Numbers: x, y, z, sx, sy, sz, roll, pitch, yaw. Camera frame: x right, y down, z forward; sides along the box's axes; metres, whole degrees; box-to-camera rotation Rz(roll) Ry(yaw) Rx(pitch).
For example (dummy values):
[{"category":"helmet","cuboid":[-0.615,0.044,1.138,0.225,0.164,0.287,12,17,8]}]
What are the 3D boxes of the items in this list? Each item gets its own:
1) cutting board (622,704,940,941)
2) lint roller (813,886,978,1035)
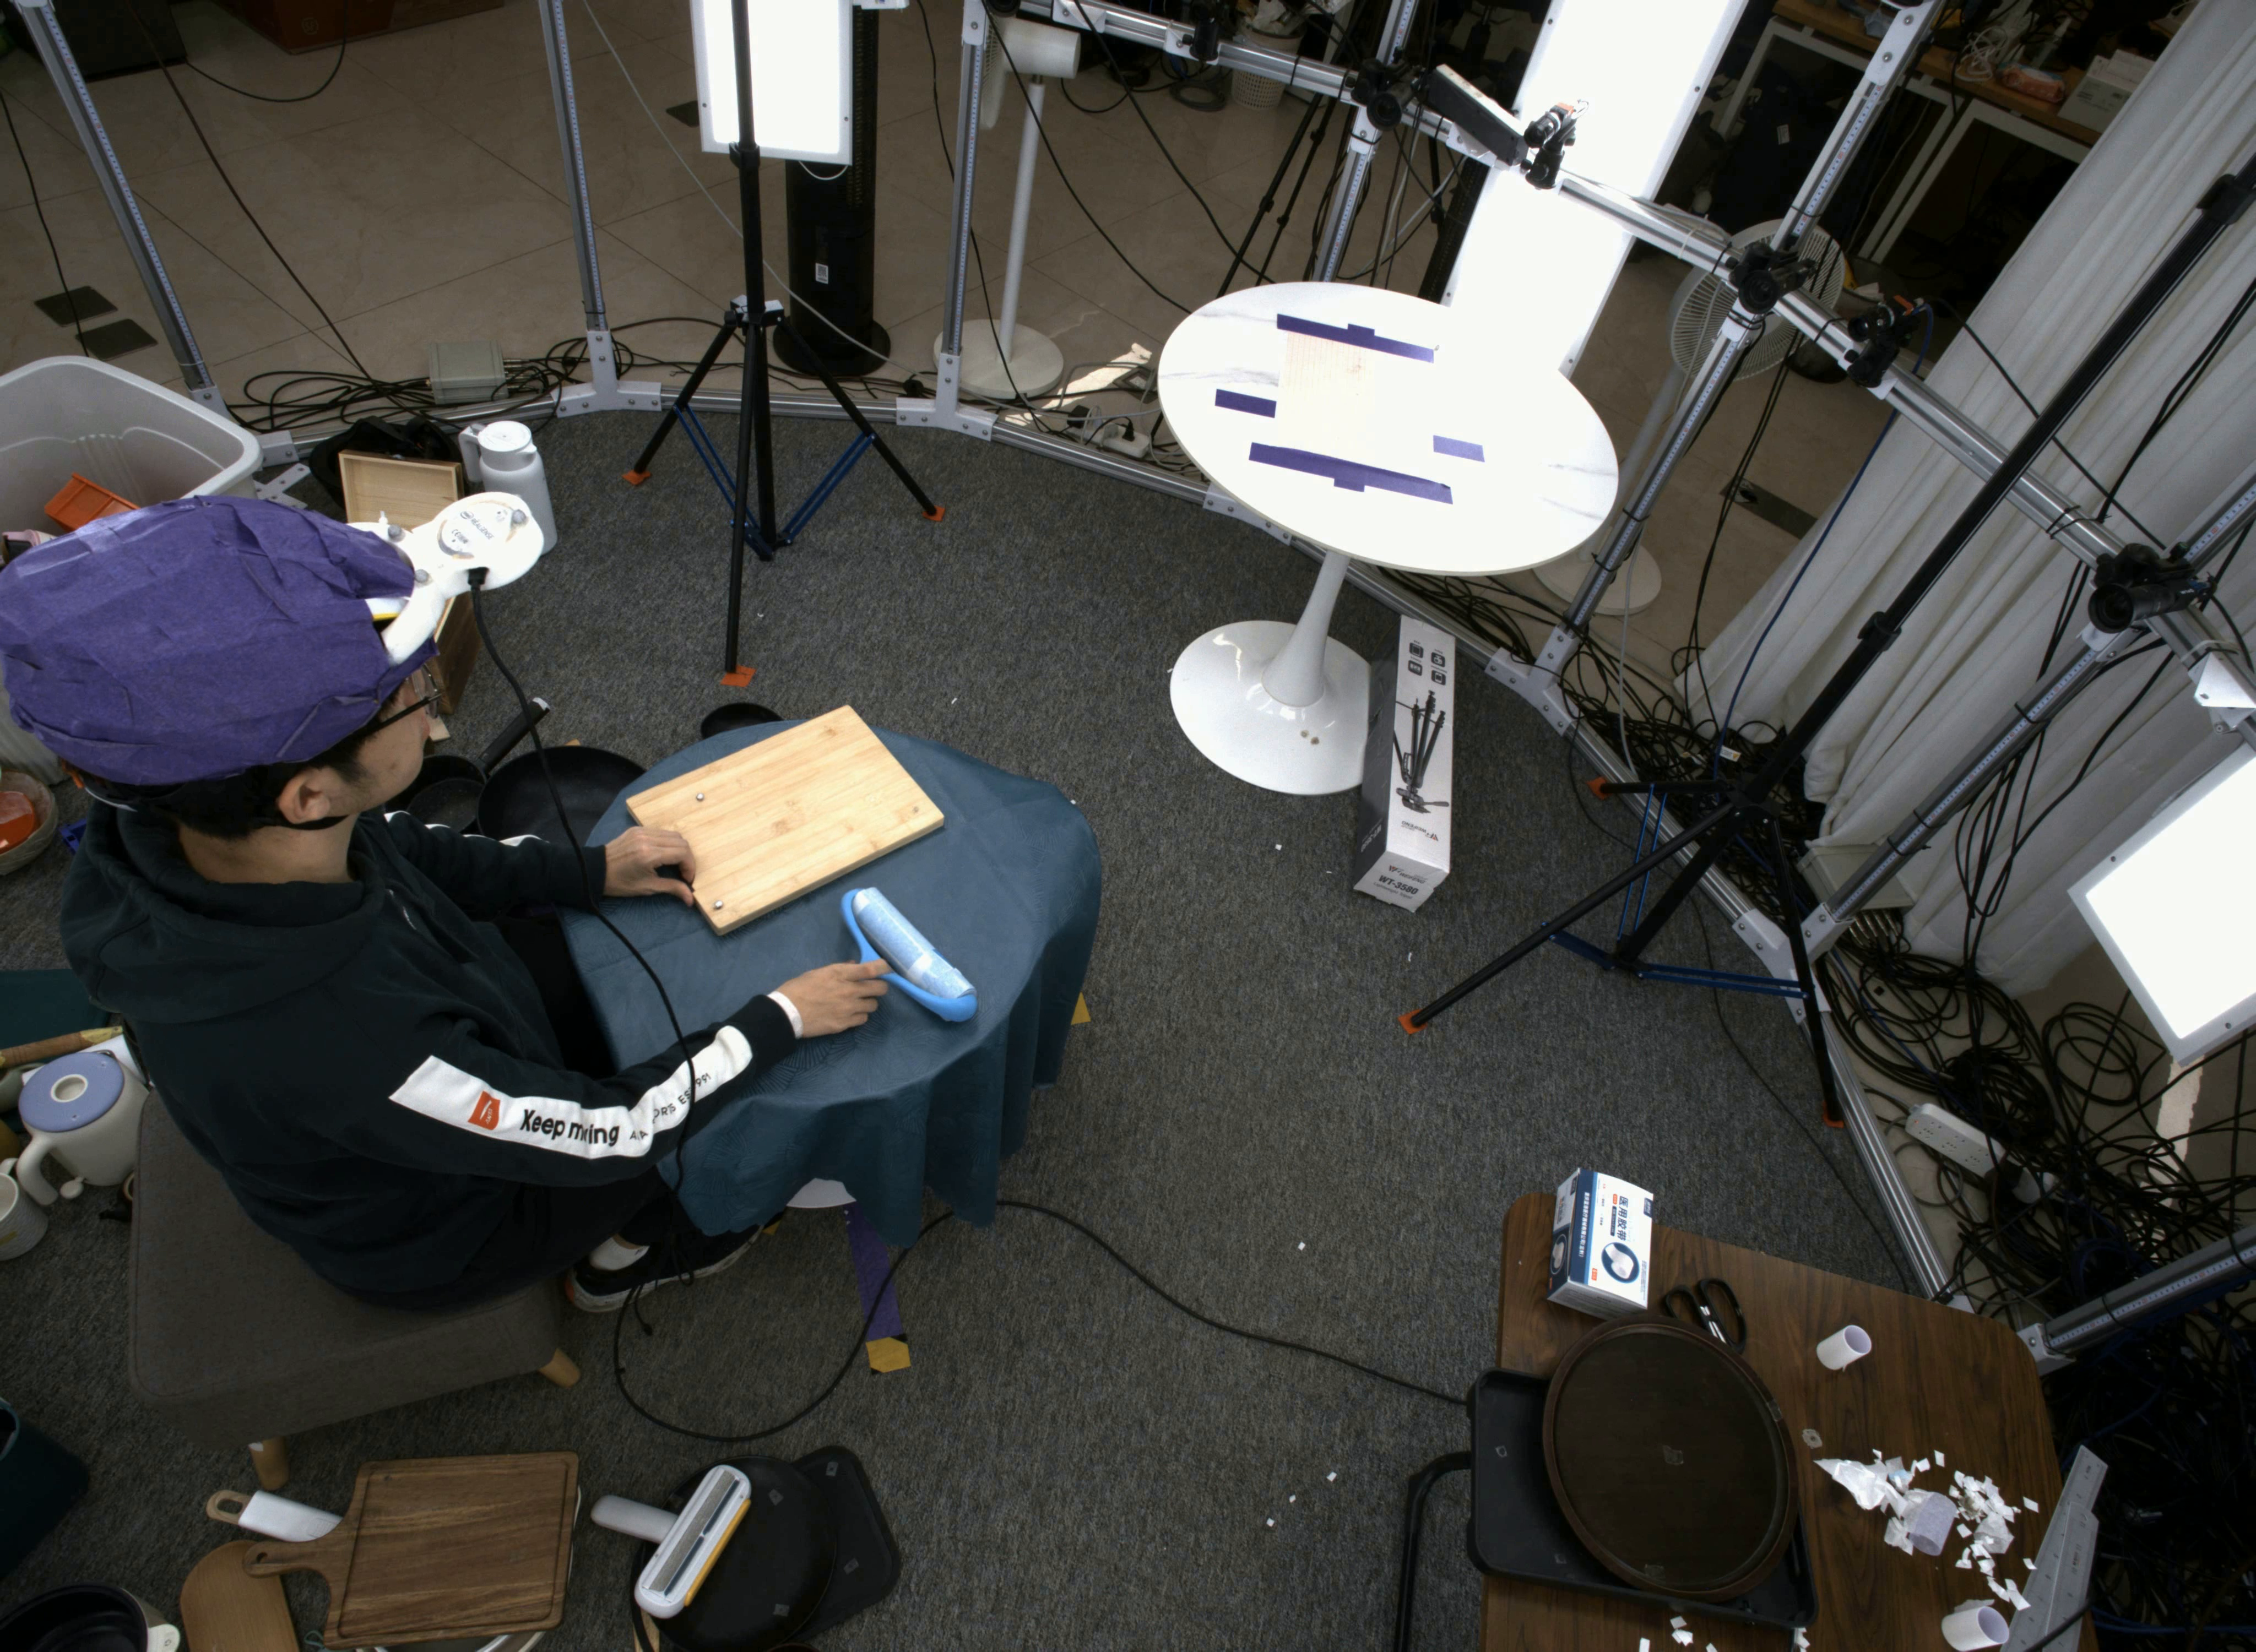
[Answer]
[{"category":"cutting board","cuboid":[-0.456,-0.016,1.721,0.350,0.024,0.245,-30,66,-32]},{"category":"lint roller","cuboid":[-0.310,0.184,1.587,0.224,0.069,0.180,40,54,14]}]
